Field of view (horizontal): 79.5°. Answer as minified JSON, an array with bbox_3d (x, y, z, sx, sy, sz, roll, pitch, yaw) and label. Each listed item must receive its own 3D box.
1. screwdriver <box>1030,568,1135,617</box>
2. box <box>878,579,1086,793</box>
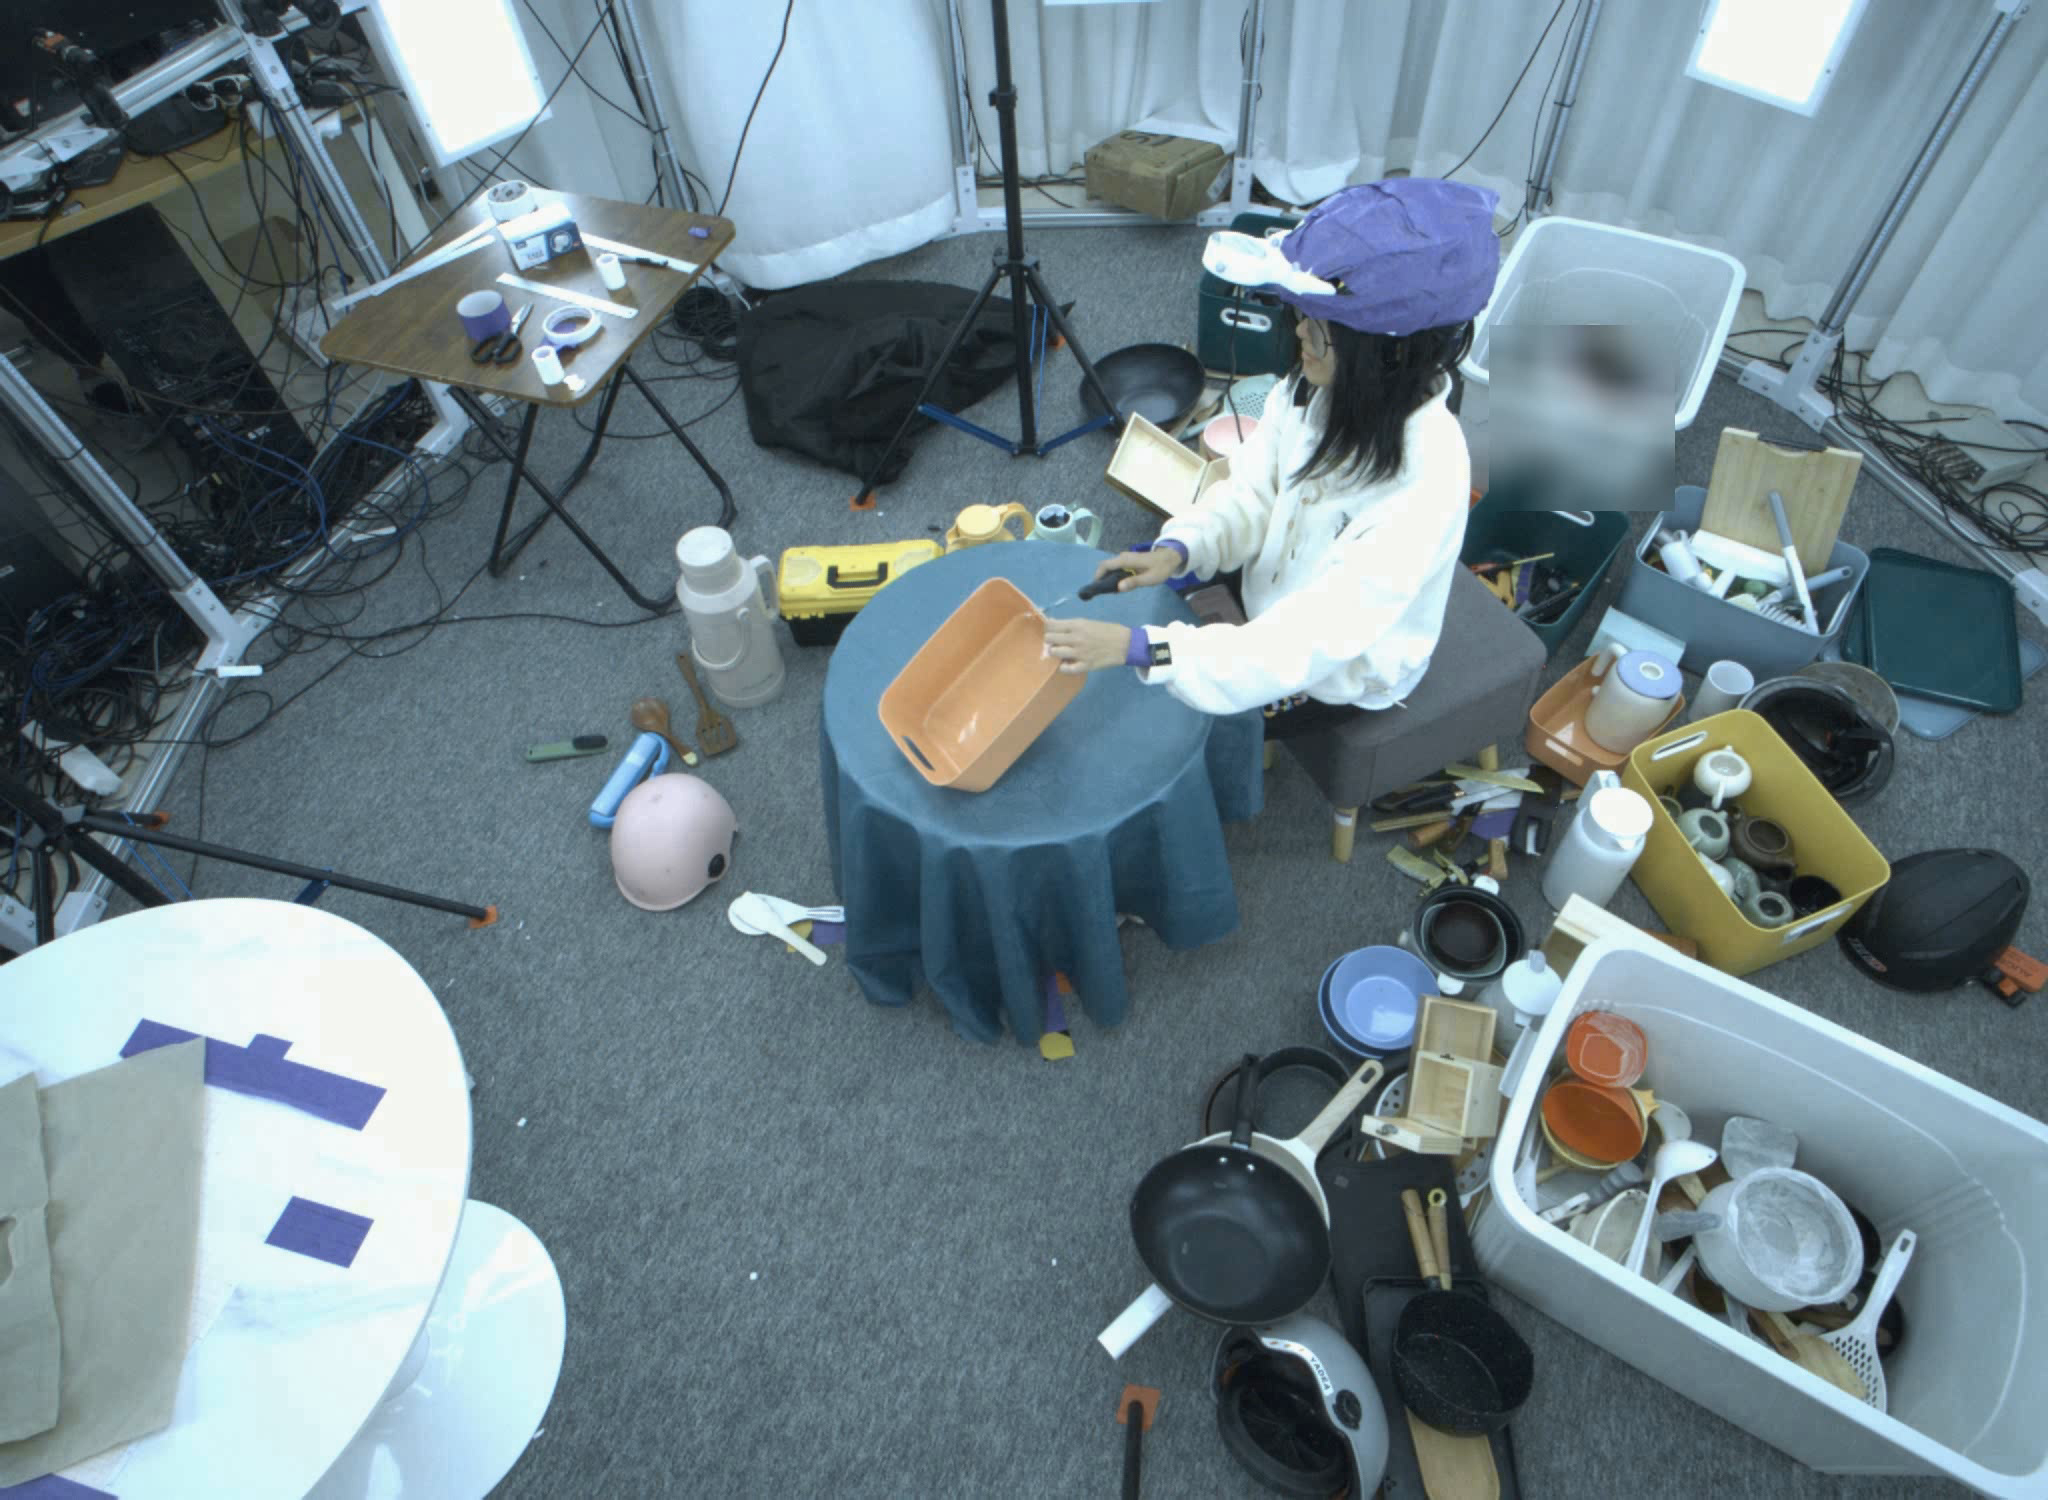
[{"bbox_3d":[0.081,-0.222,1.749,0.200,0.031,0.031,-24,56,-31],"label":"screwdriver"},{"bbox_3d":[-0.053,-0.081,1.719,0.272,0.105,0.195,-47,59,10],"label":"box"}]
